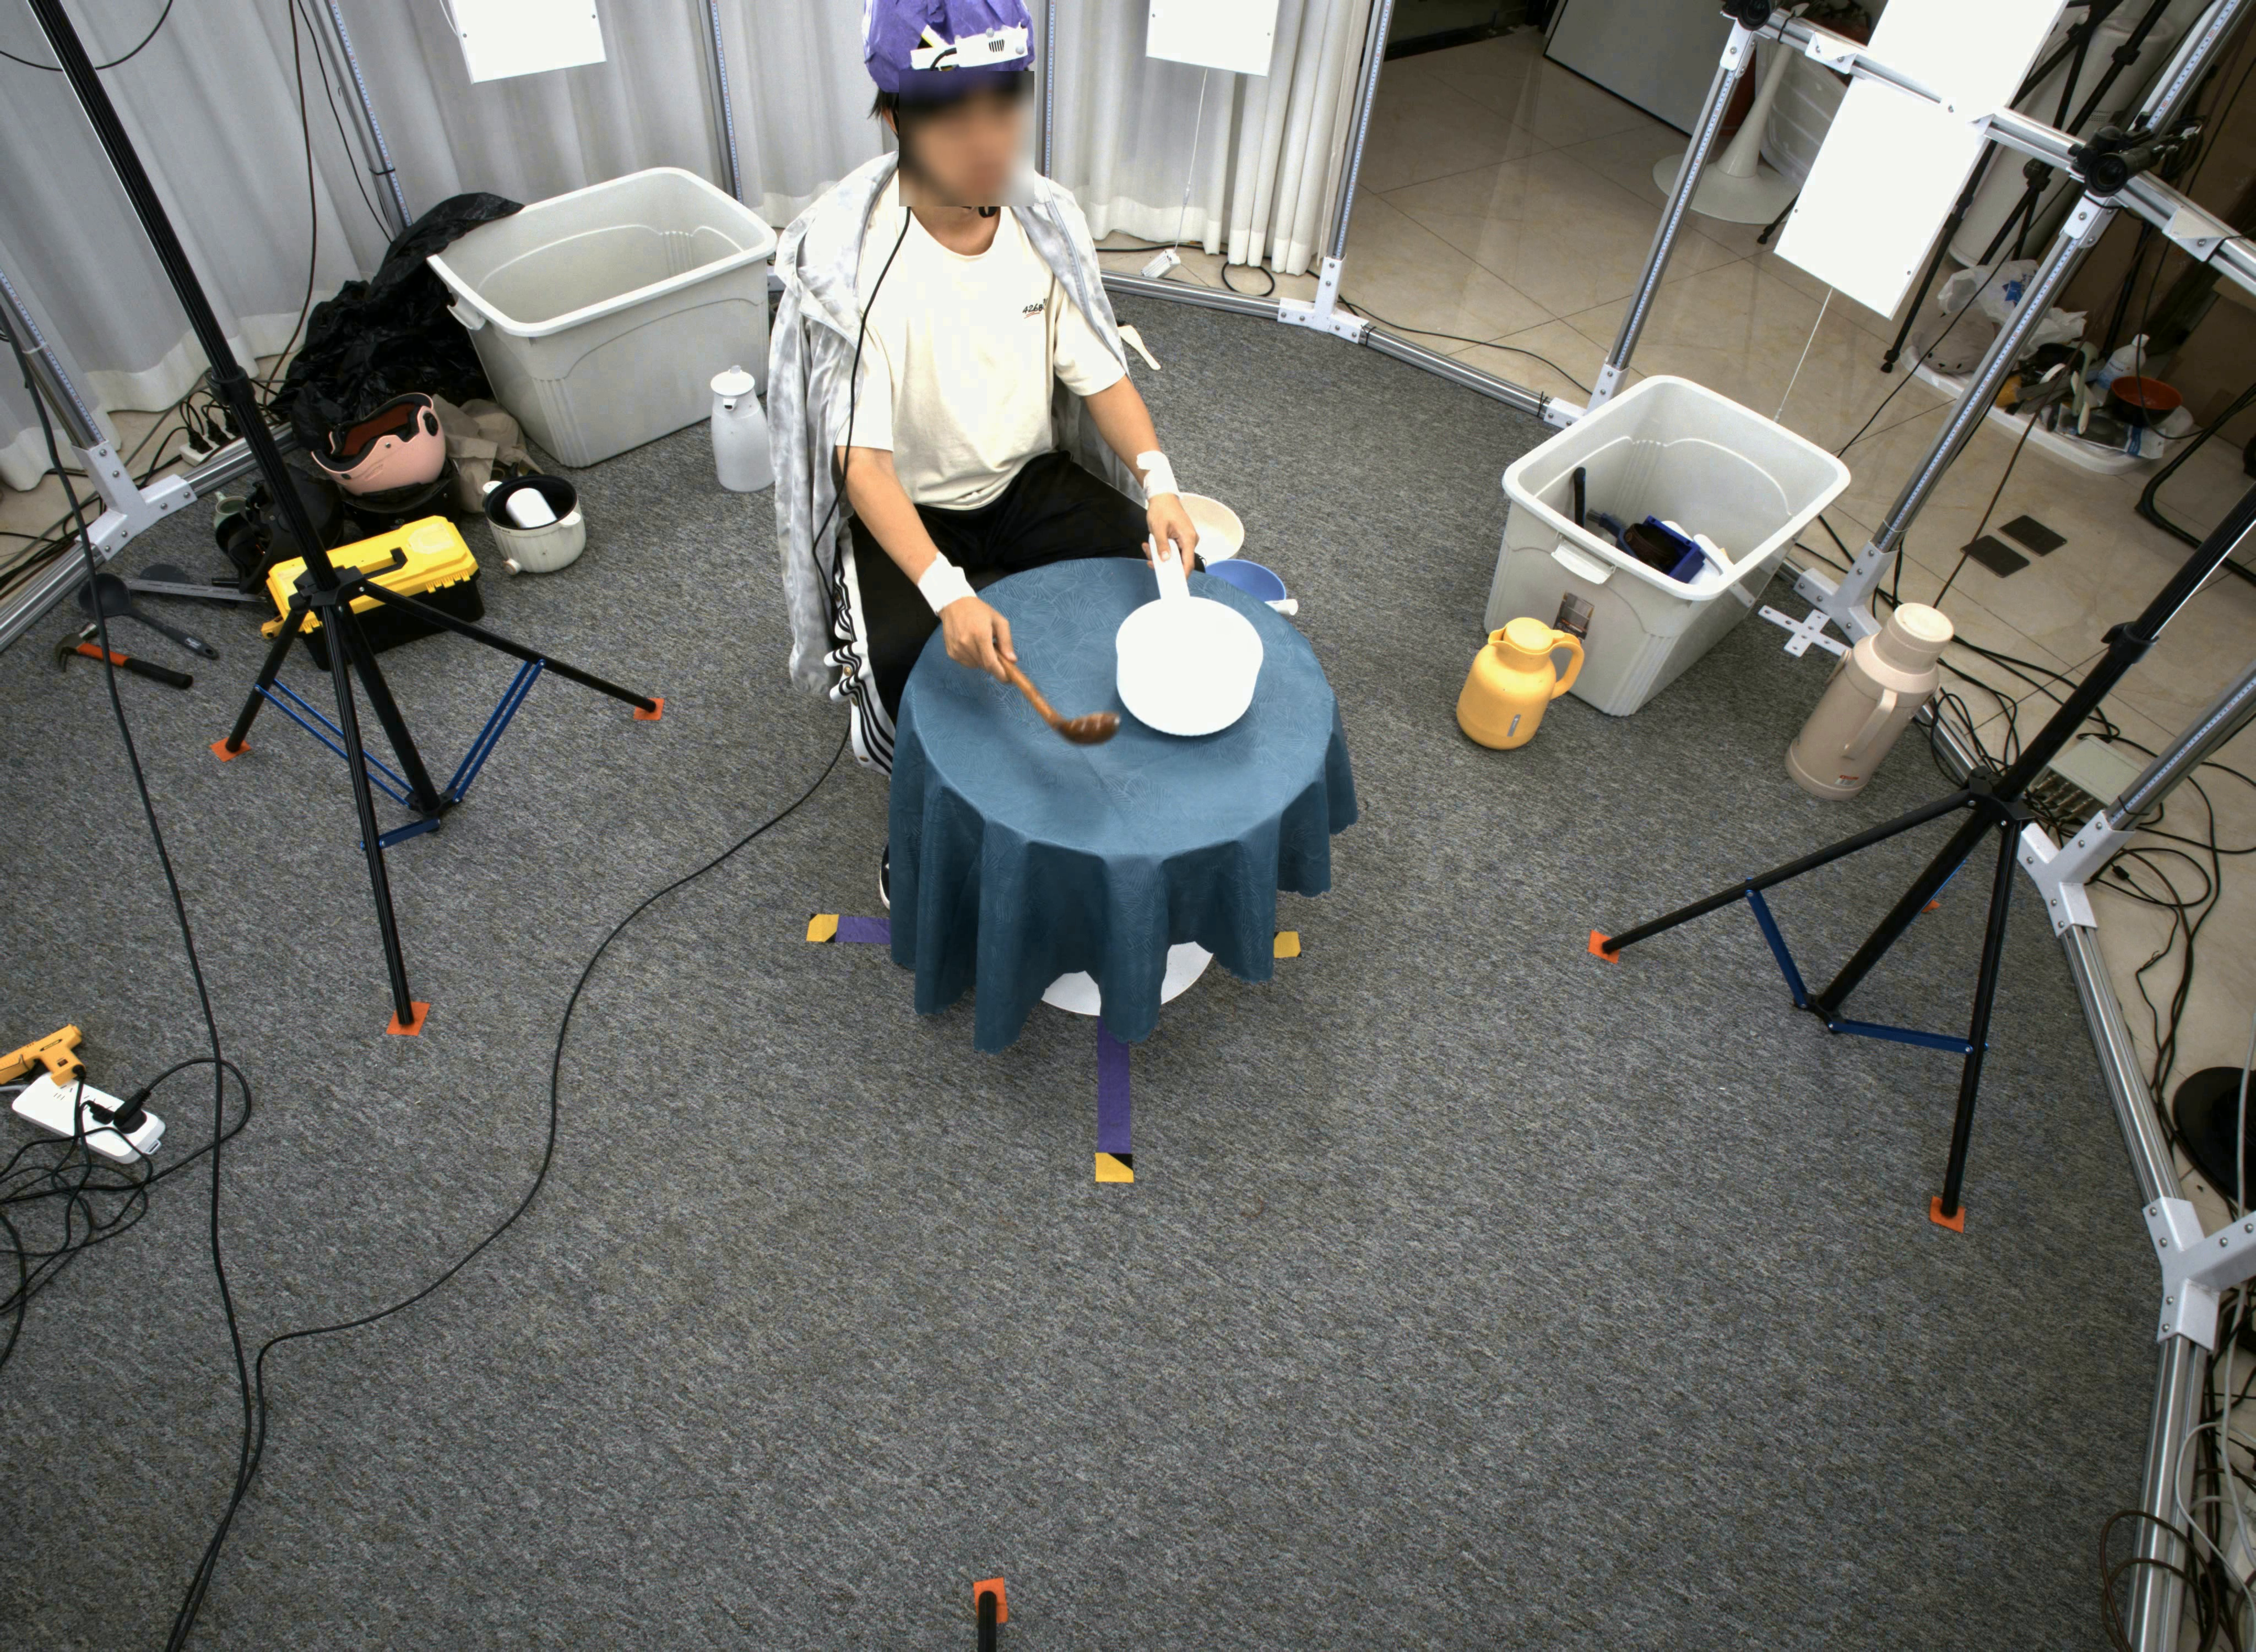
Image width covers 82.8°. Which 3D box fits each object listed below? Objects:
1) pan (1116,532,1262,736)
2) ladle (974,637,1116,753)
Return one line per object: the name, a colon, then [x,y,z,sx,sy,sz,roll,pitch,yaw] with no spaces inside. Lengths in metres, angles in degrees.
pan: [0.072,-0.276,1.845,0.201,0.099,0.364,-4,48,-6]
ladle: [-0.114,-0.190,1.705,0.081,0.076,0.279,19,27,-54]
